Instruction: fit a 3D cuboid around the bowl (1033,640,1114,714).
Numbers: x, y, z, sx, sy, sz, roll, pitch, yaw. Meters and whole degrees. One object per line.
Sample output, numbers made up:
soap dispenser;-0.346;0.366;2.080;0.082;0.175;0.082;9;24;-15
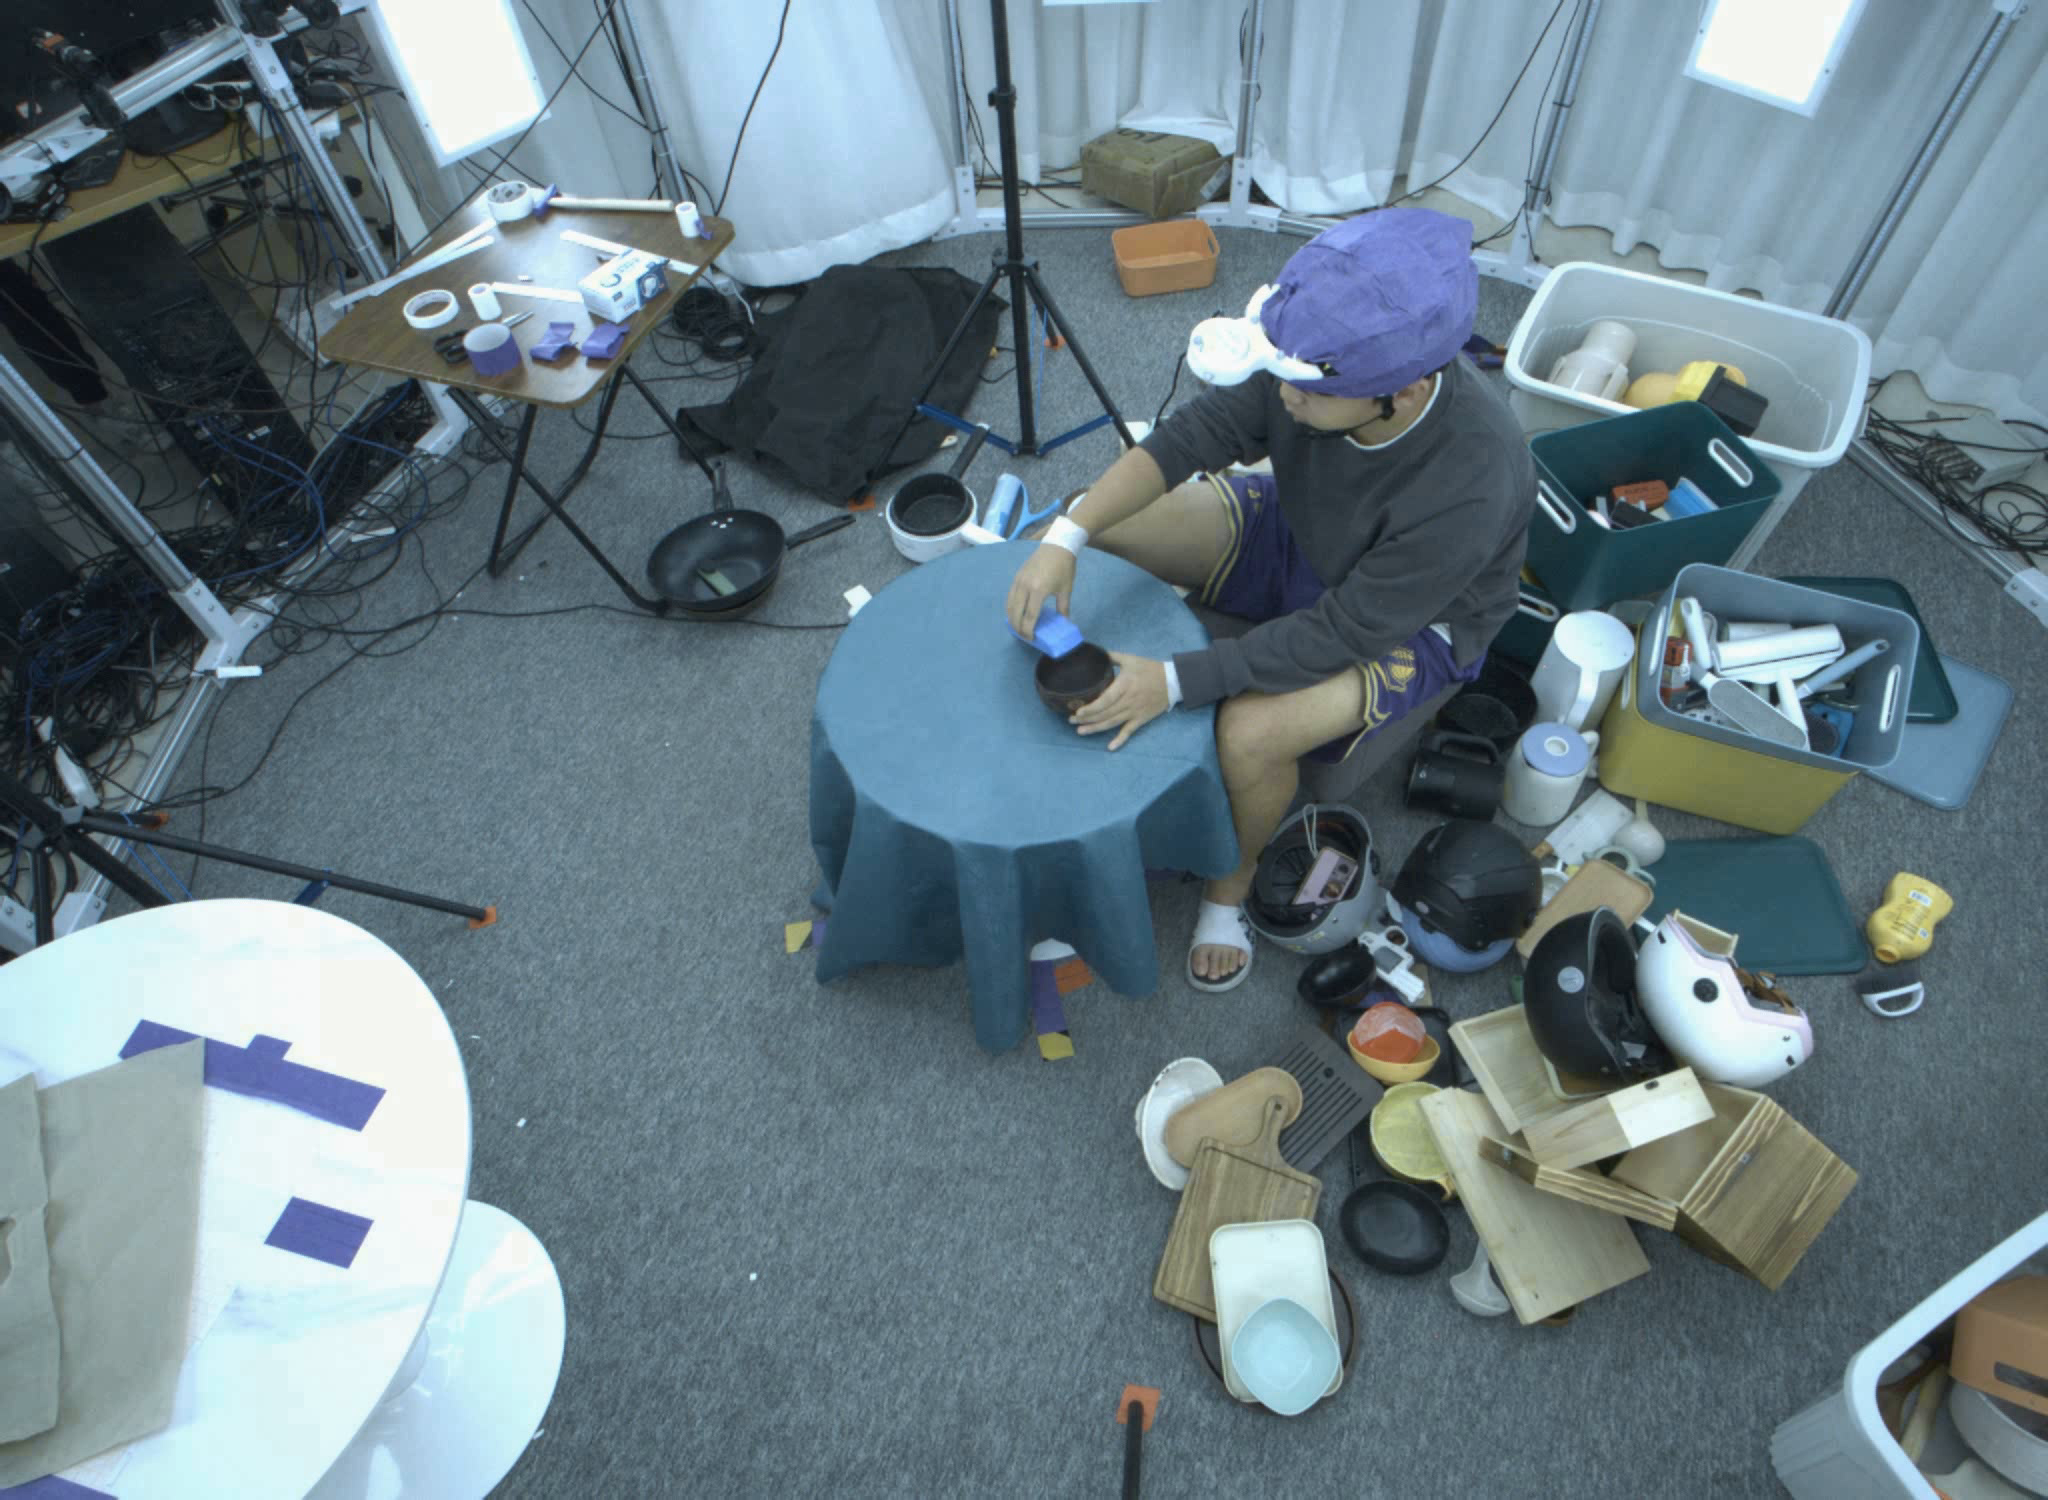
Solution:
bowl;0.075;-0.098;1.807;0.117;0.071;0.117;-5;46;6

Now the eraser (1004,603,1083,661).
eraser;0.025;-0.182;1.833;0.054;0.048;0.158;-36;33;-12
